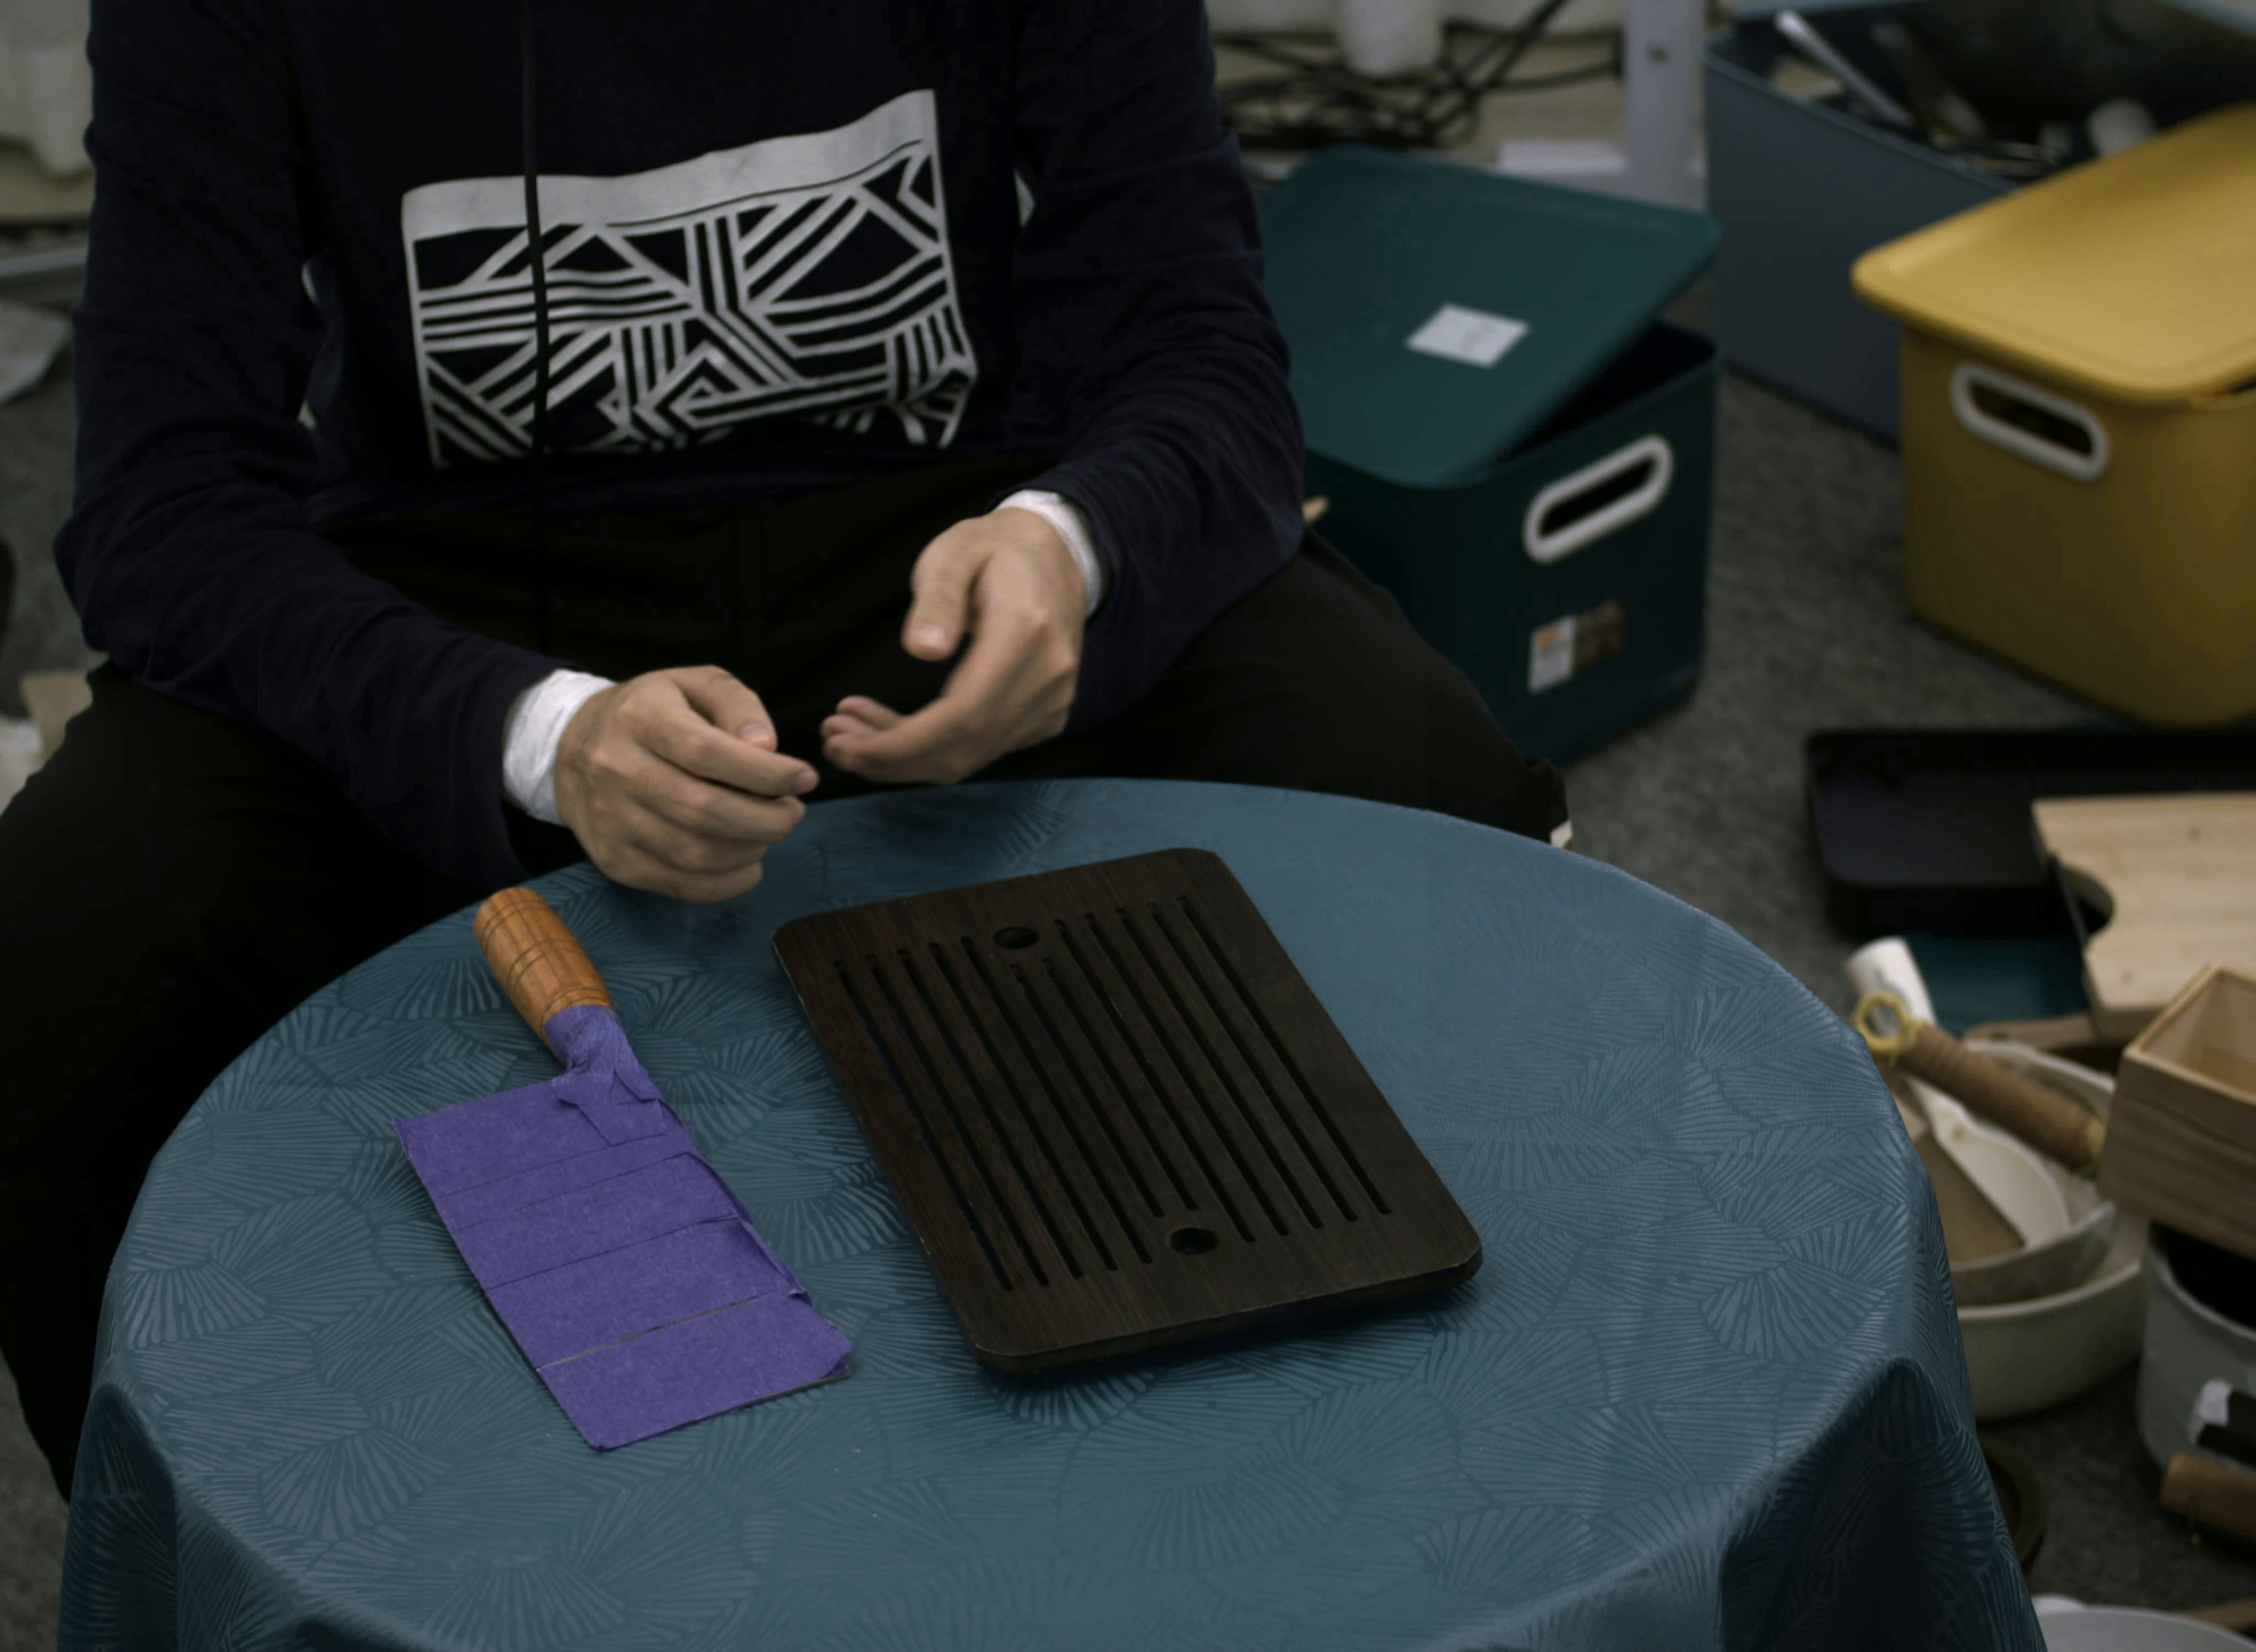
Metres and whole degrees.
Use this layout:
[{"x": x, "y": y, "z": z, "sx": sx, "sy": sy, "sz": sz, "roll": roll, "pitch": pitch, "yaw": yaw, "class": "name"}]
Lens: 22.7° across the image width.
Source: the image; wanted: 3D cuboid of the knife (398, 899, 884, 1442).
[{"x": -0.187, "y": 0.110, "z": 1.872, "sx": 0.104, "sy": 0.032, "sz": 0.317, "roll": -14, "pitch": 30, "yaw": -21, "class": "knife"}]

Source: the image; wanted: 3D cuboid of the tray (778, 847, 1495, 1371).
[{"x": -0.004, "y": 0.092, "z": 1.898, "sx": 0.170, "sy": 0.018, "sz": 0.309, "roll": -10, "pitch": 28, "yaw": -14, "class": "tray"}]
